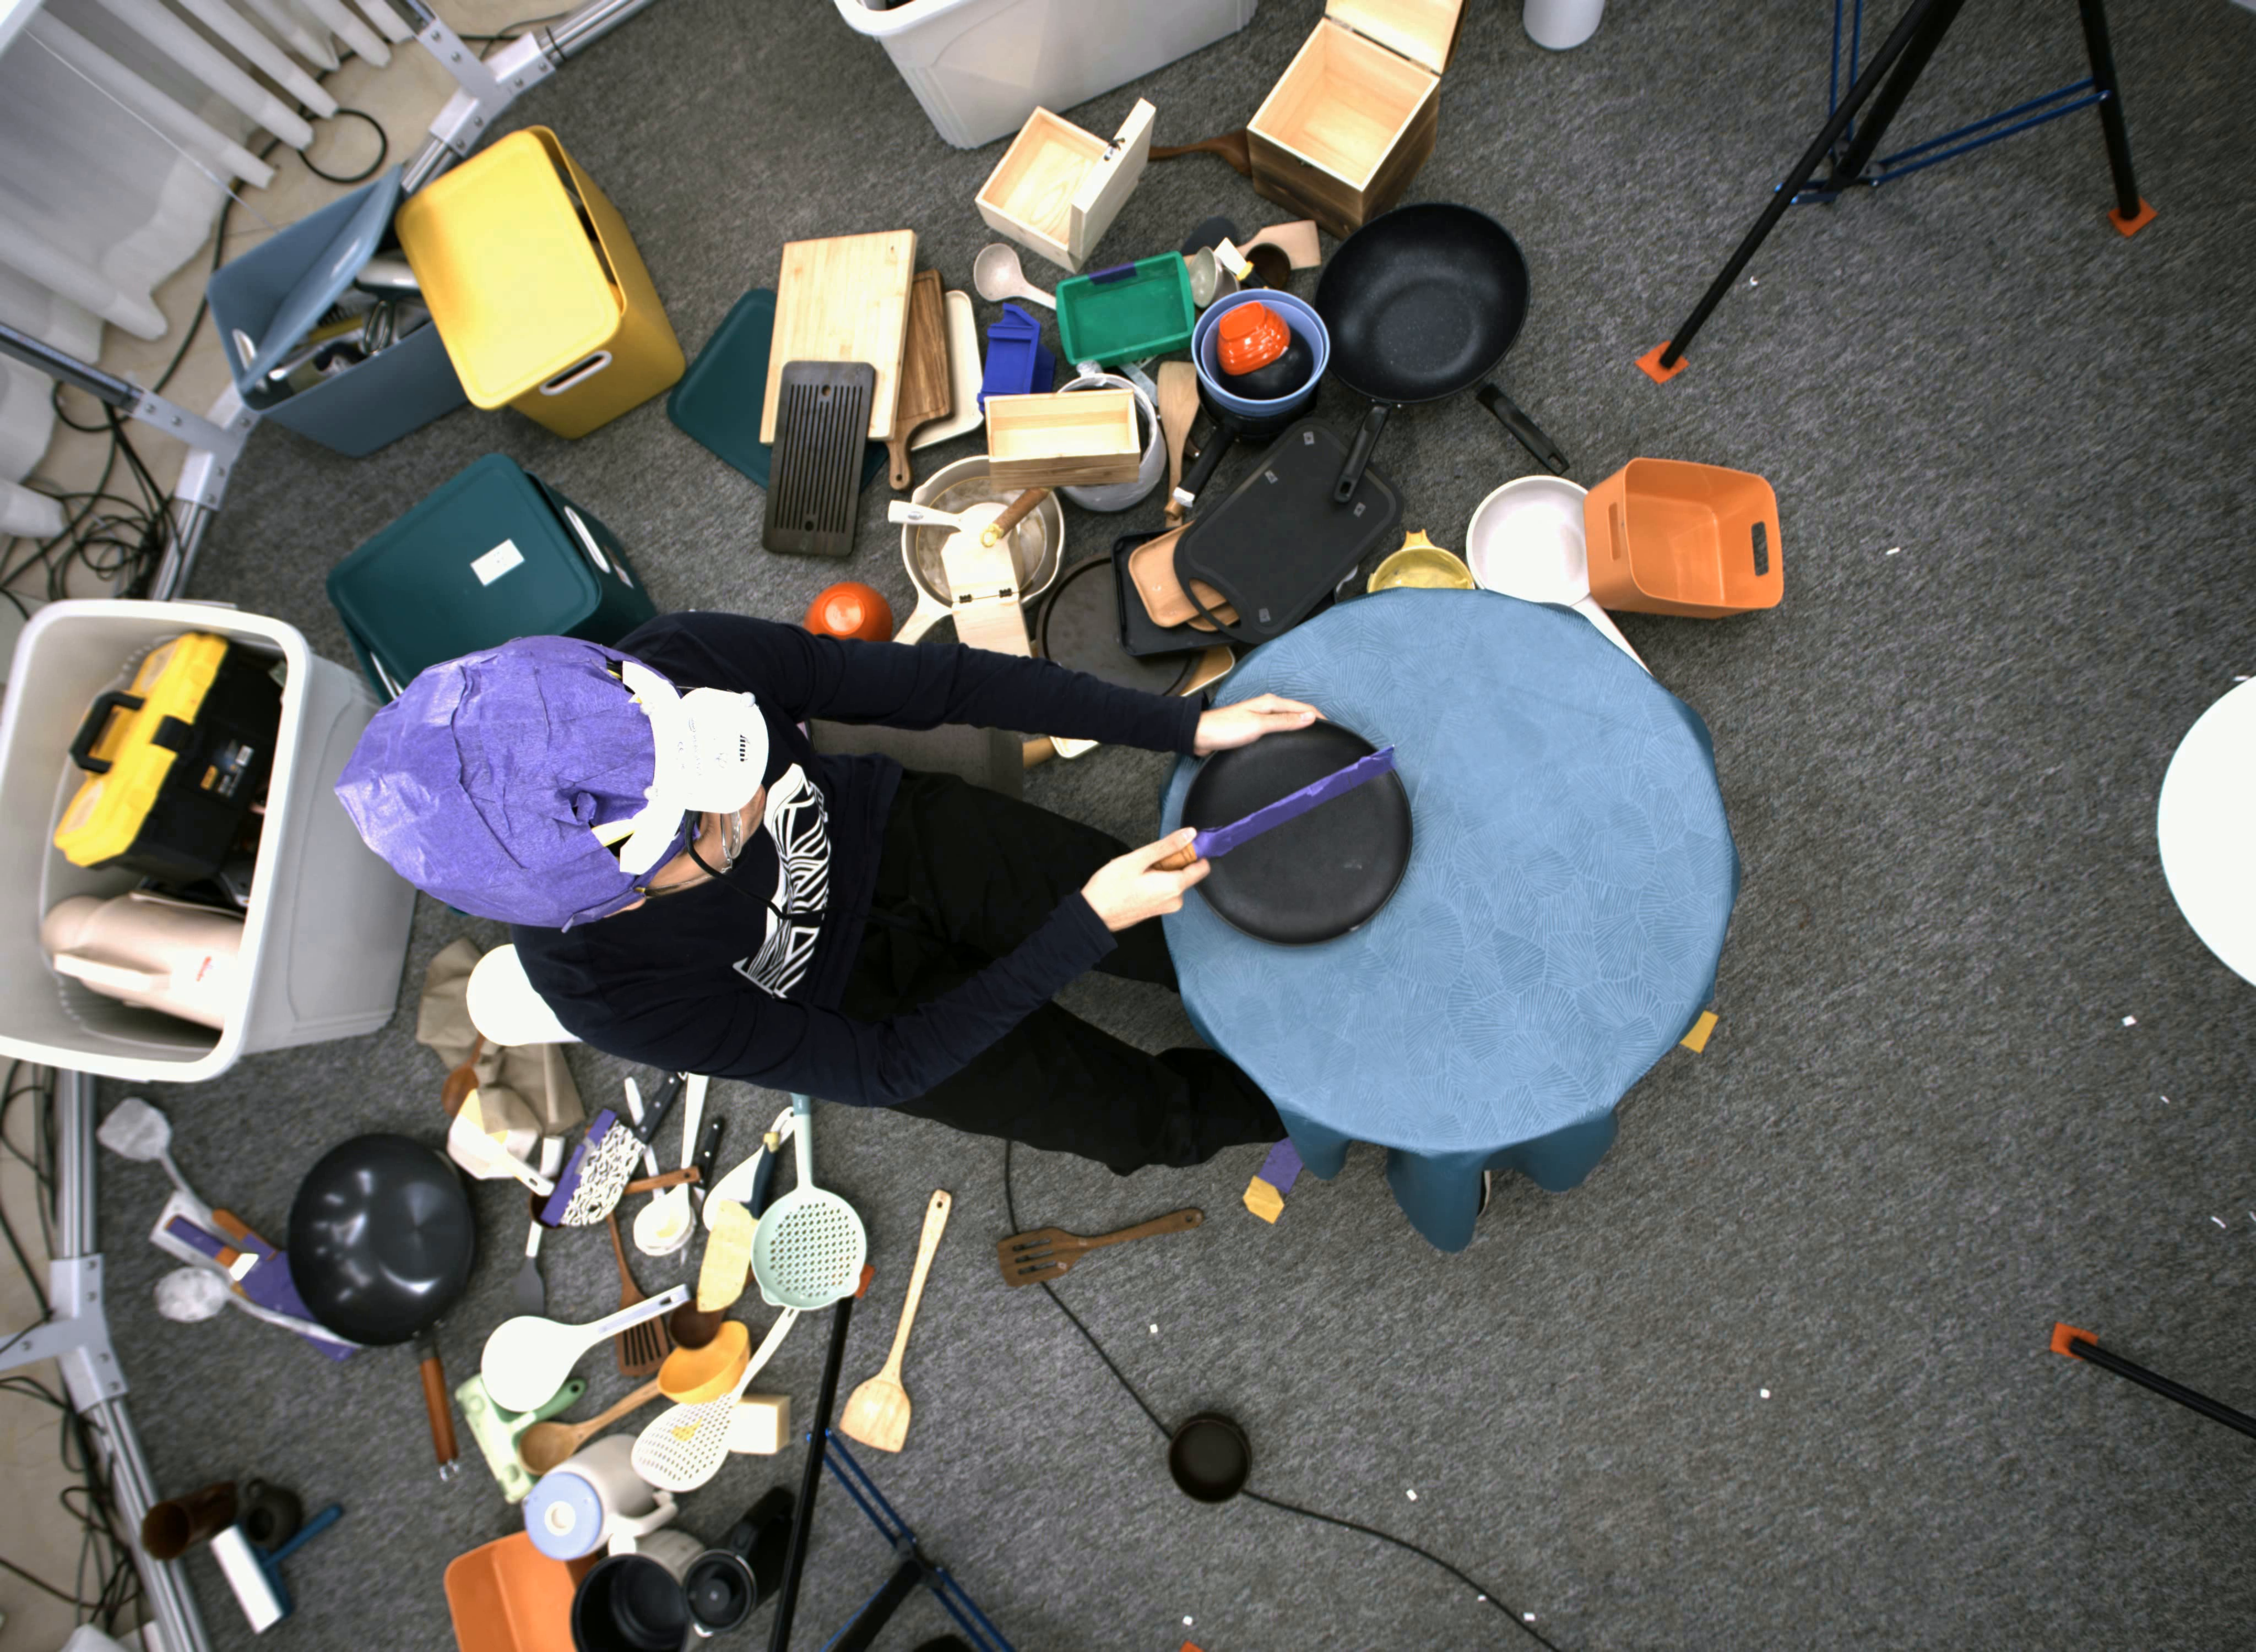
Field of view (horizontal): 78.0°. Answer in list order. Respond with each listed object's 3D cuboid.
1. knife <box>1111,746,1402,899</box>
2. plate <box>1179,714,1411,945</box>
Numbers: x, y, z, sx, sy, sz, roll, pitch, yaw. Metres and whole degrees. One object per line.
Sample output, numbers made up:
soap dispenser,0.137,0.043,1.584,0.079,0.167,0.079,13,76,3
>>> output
knife,0.136,0.002,1.408,0.317,0.104,0.032,-25,73,8
plate,0.175,0.004,1.460,0.245,0.023,0.244,0,92,7
